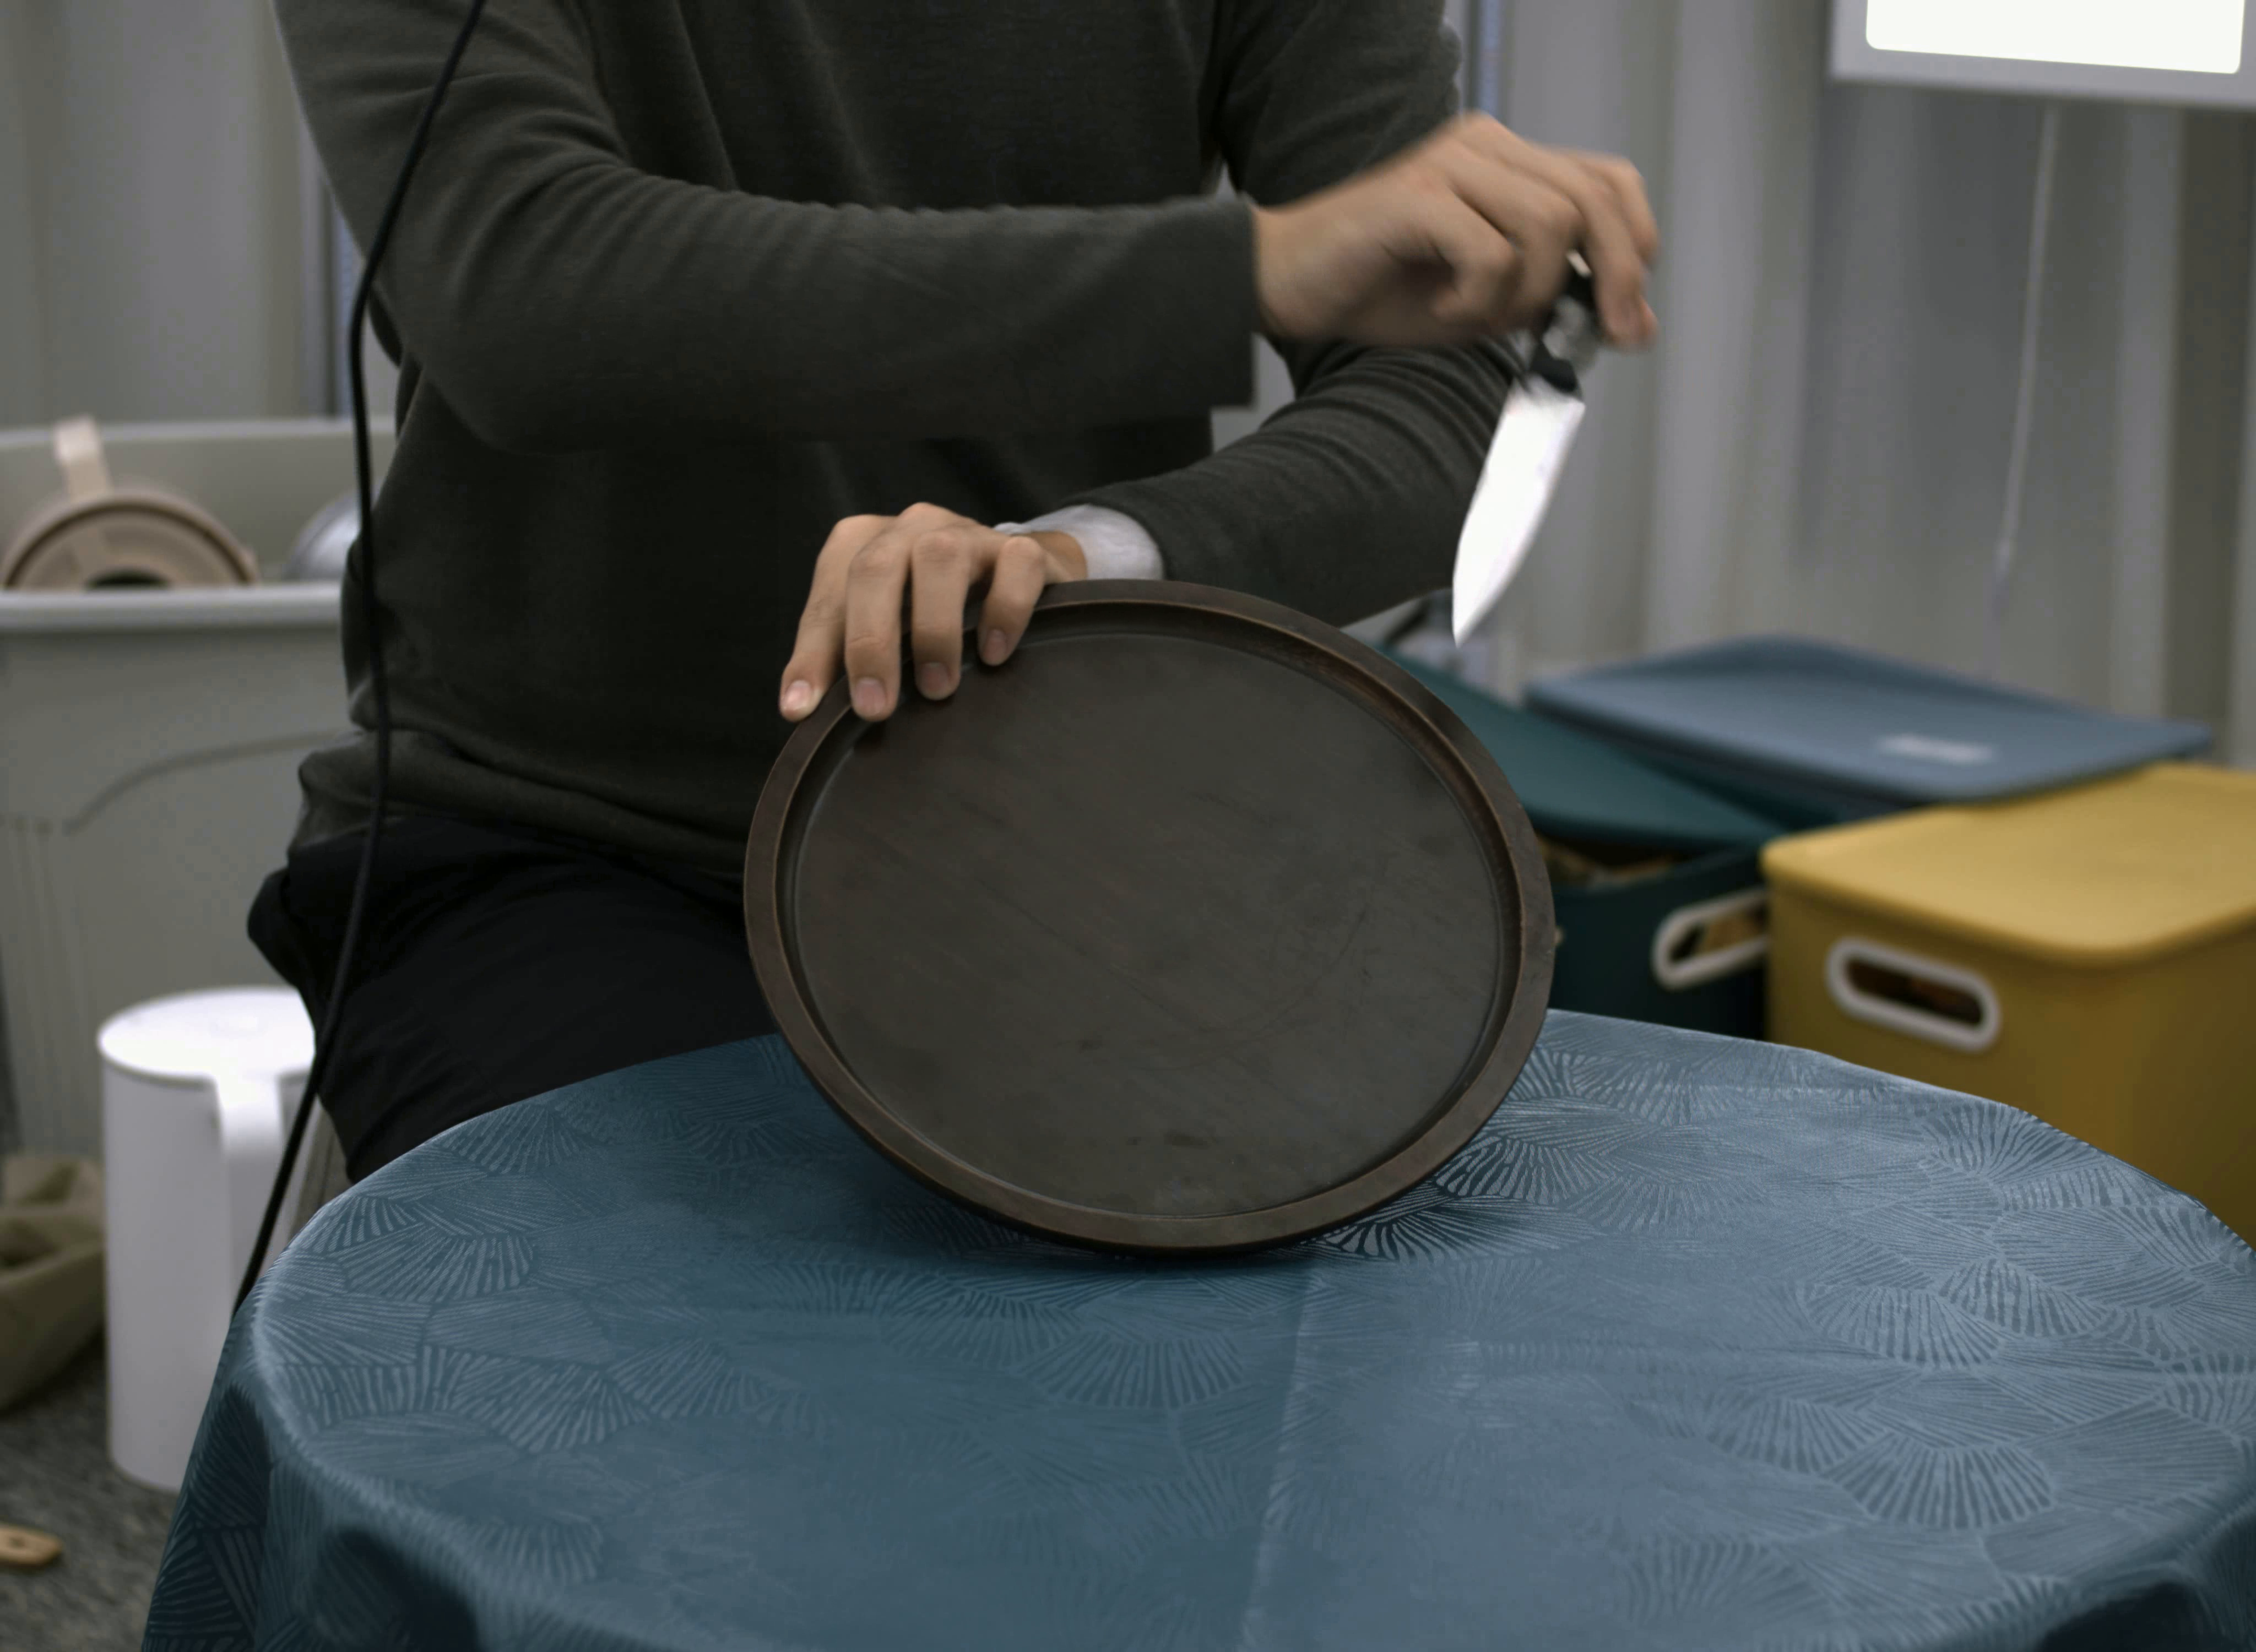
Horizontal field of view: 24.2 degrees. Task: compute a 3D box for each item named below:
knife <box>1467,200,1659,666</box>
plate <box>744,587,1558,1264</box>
[{"bbox_3d":[0.138,-0.131,1.721,0.024,0.016,0.237,16,47,8],"label":"knife"},{"bbox_3d":[0.007,0.029,1.631,0.254,0.029,0.253,5,54,-6],"label":"plate"}]
